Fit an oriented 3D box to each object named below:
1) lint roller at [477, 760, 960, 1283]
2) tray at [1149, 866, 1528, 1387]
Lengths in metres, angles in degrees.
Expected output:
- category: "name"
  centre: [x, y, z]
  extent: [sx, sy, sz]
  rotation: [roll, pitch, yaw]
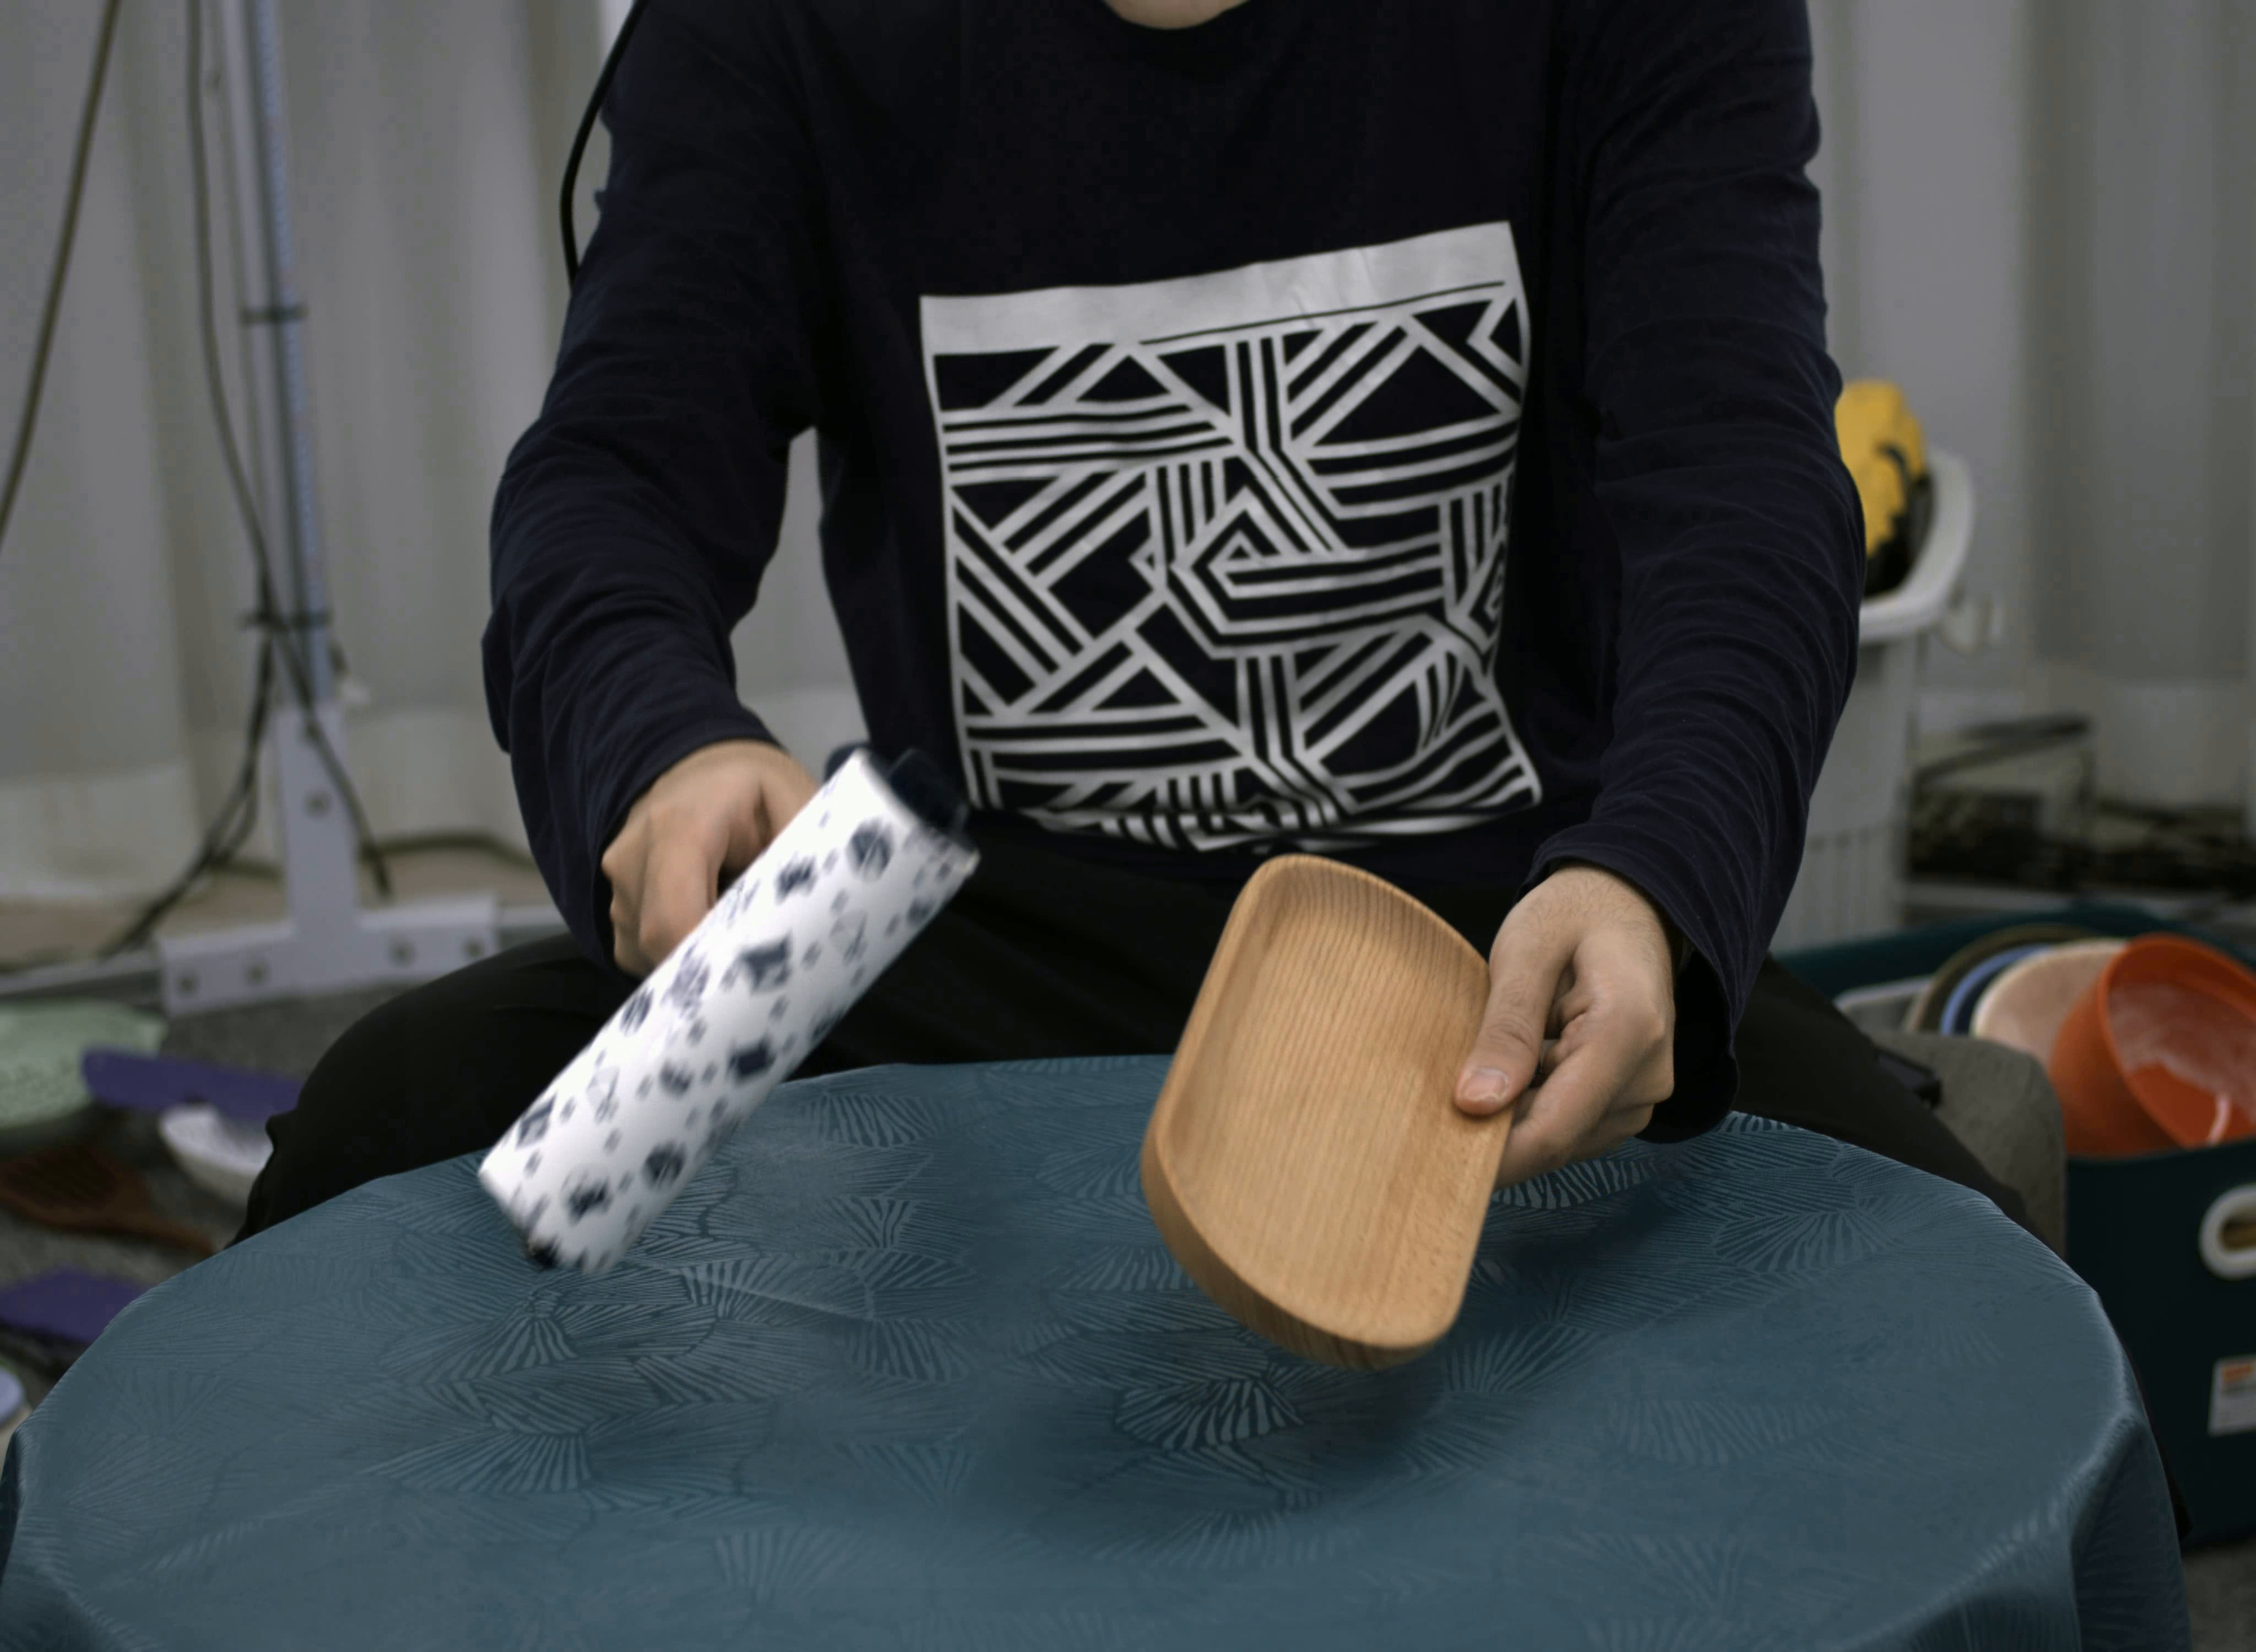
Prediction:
- category: "lint roller"
  centre: [-0.117, 0.041, 1.643]
  extent: [0.050, 0.176, 0.248]
  rotation: [41, 6, -6]
- category: "tray"
  centre: [0.061, 0.083, 1.558]
  extent: [0.101, 0.020, 0.233]
  rotation: [31, 30, -6]
